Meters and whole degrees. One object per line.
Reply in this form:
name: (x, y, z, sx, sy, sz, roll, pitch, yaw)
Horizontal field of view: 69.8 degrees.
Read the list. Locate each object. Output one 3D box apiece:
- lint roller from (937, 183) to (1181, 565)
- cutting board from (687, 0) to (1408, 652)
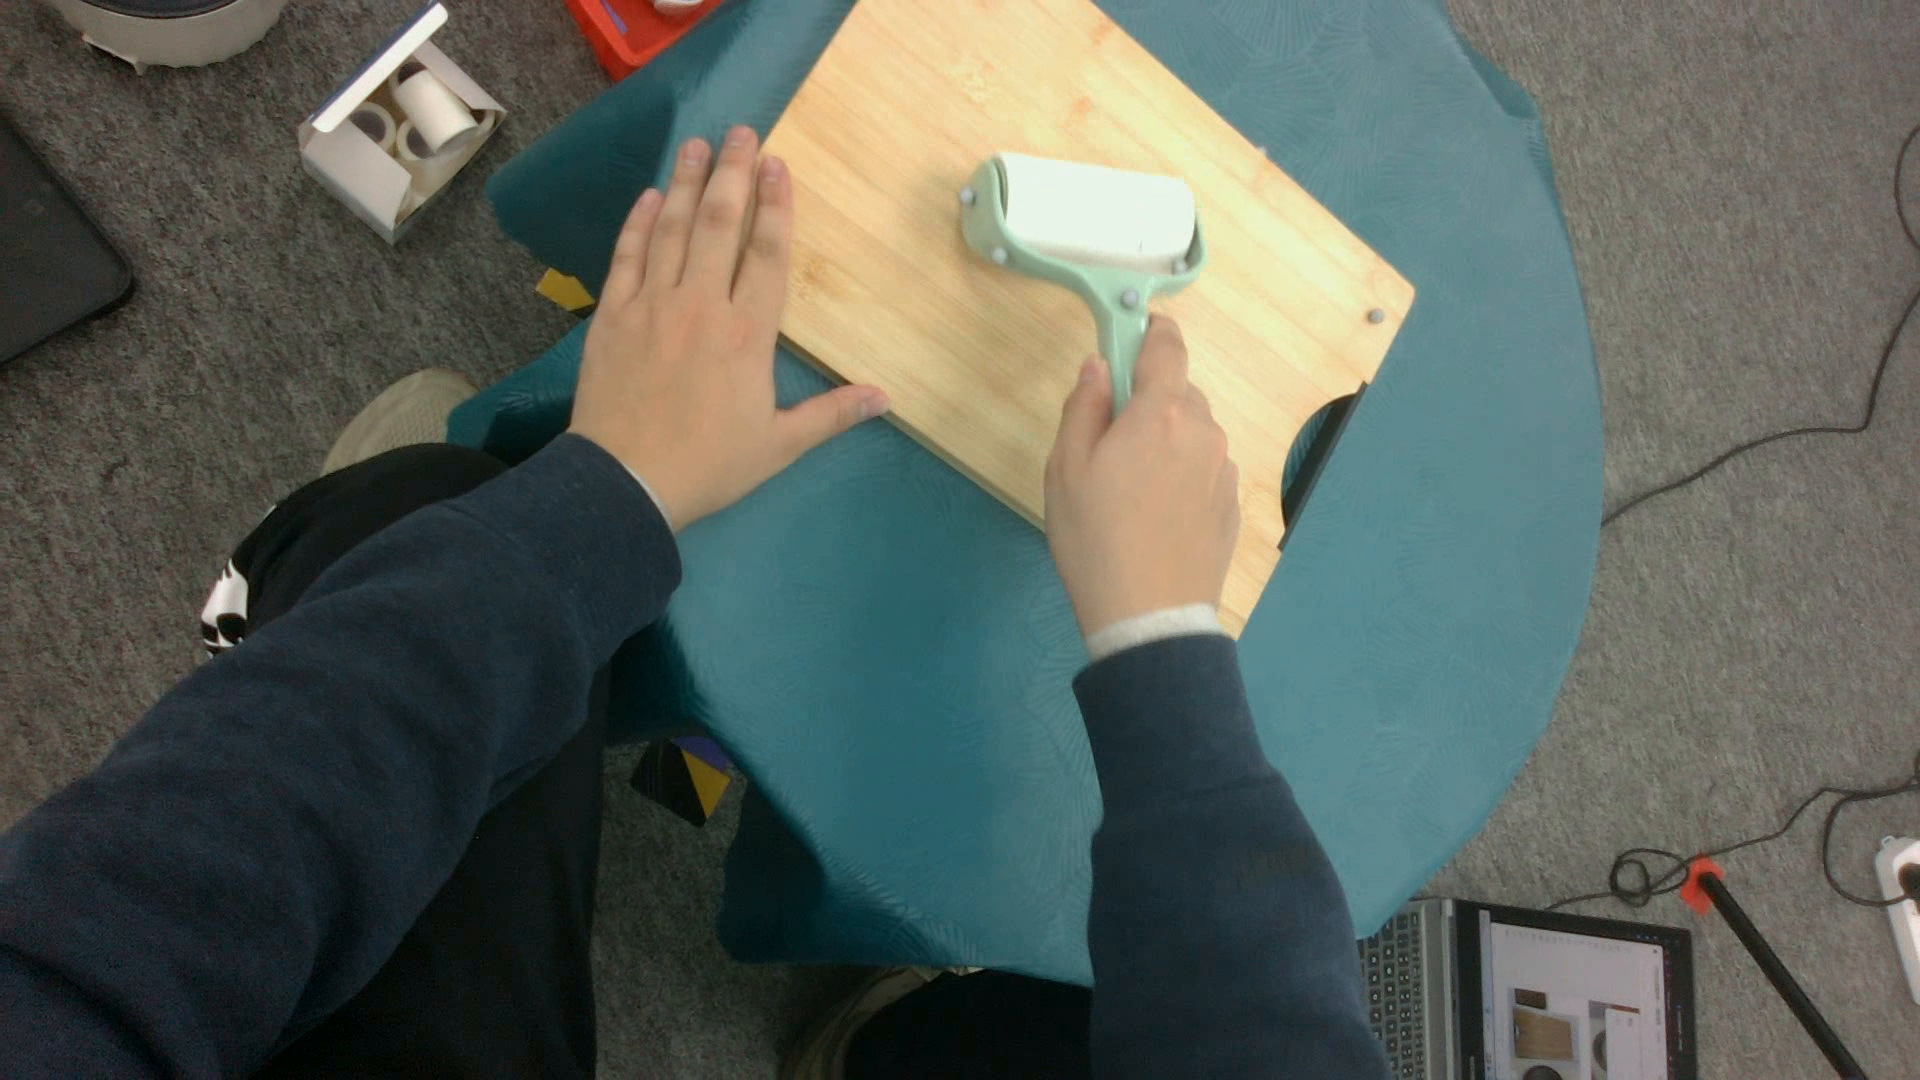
lint roller: (0.061, -0.084, 0.651, 0.117, 0.048, 0.198, 0, 62, -24)
cutting board: (0.064, -0.130, 0.724, 0.348, 0.023, 0.251, 30, 76, -17)
